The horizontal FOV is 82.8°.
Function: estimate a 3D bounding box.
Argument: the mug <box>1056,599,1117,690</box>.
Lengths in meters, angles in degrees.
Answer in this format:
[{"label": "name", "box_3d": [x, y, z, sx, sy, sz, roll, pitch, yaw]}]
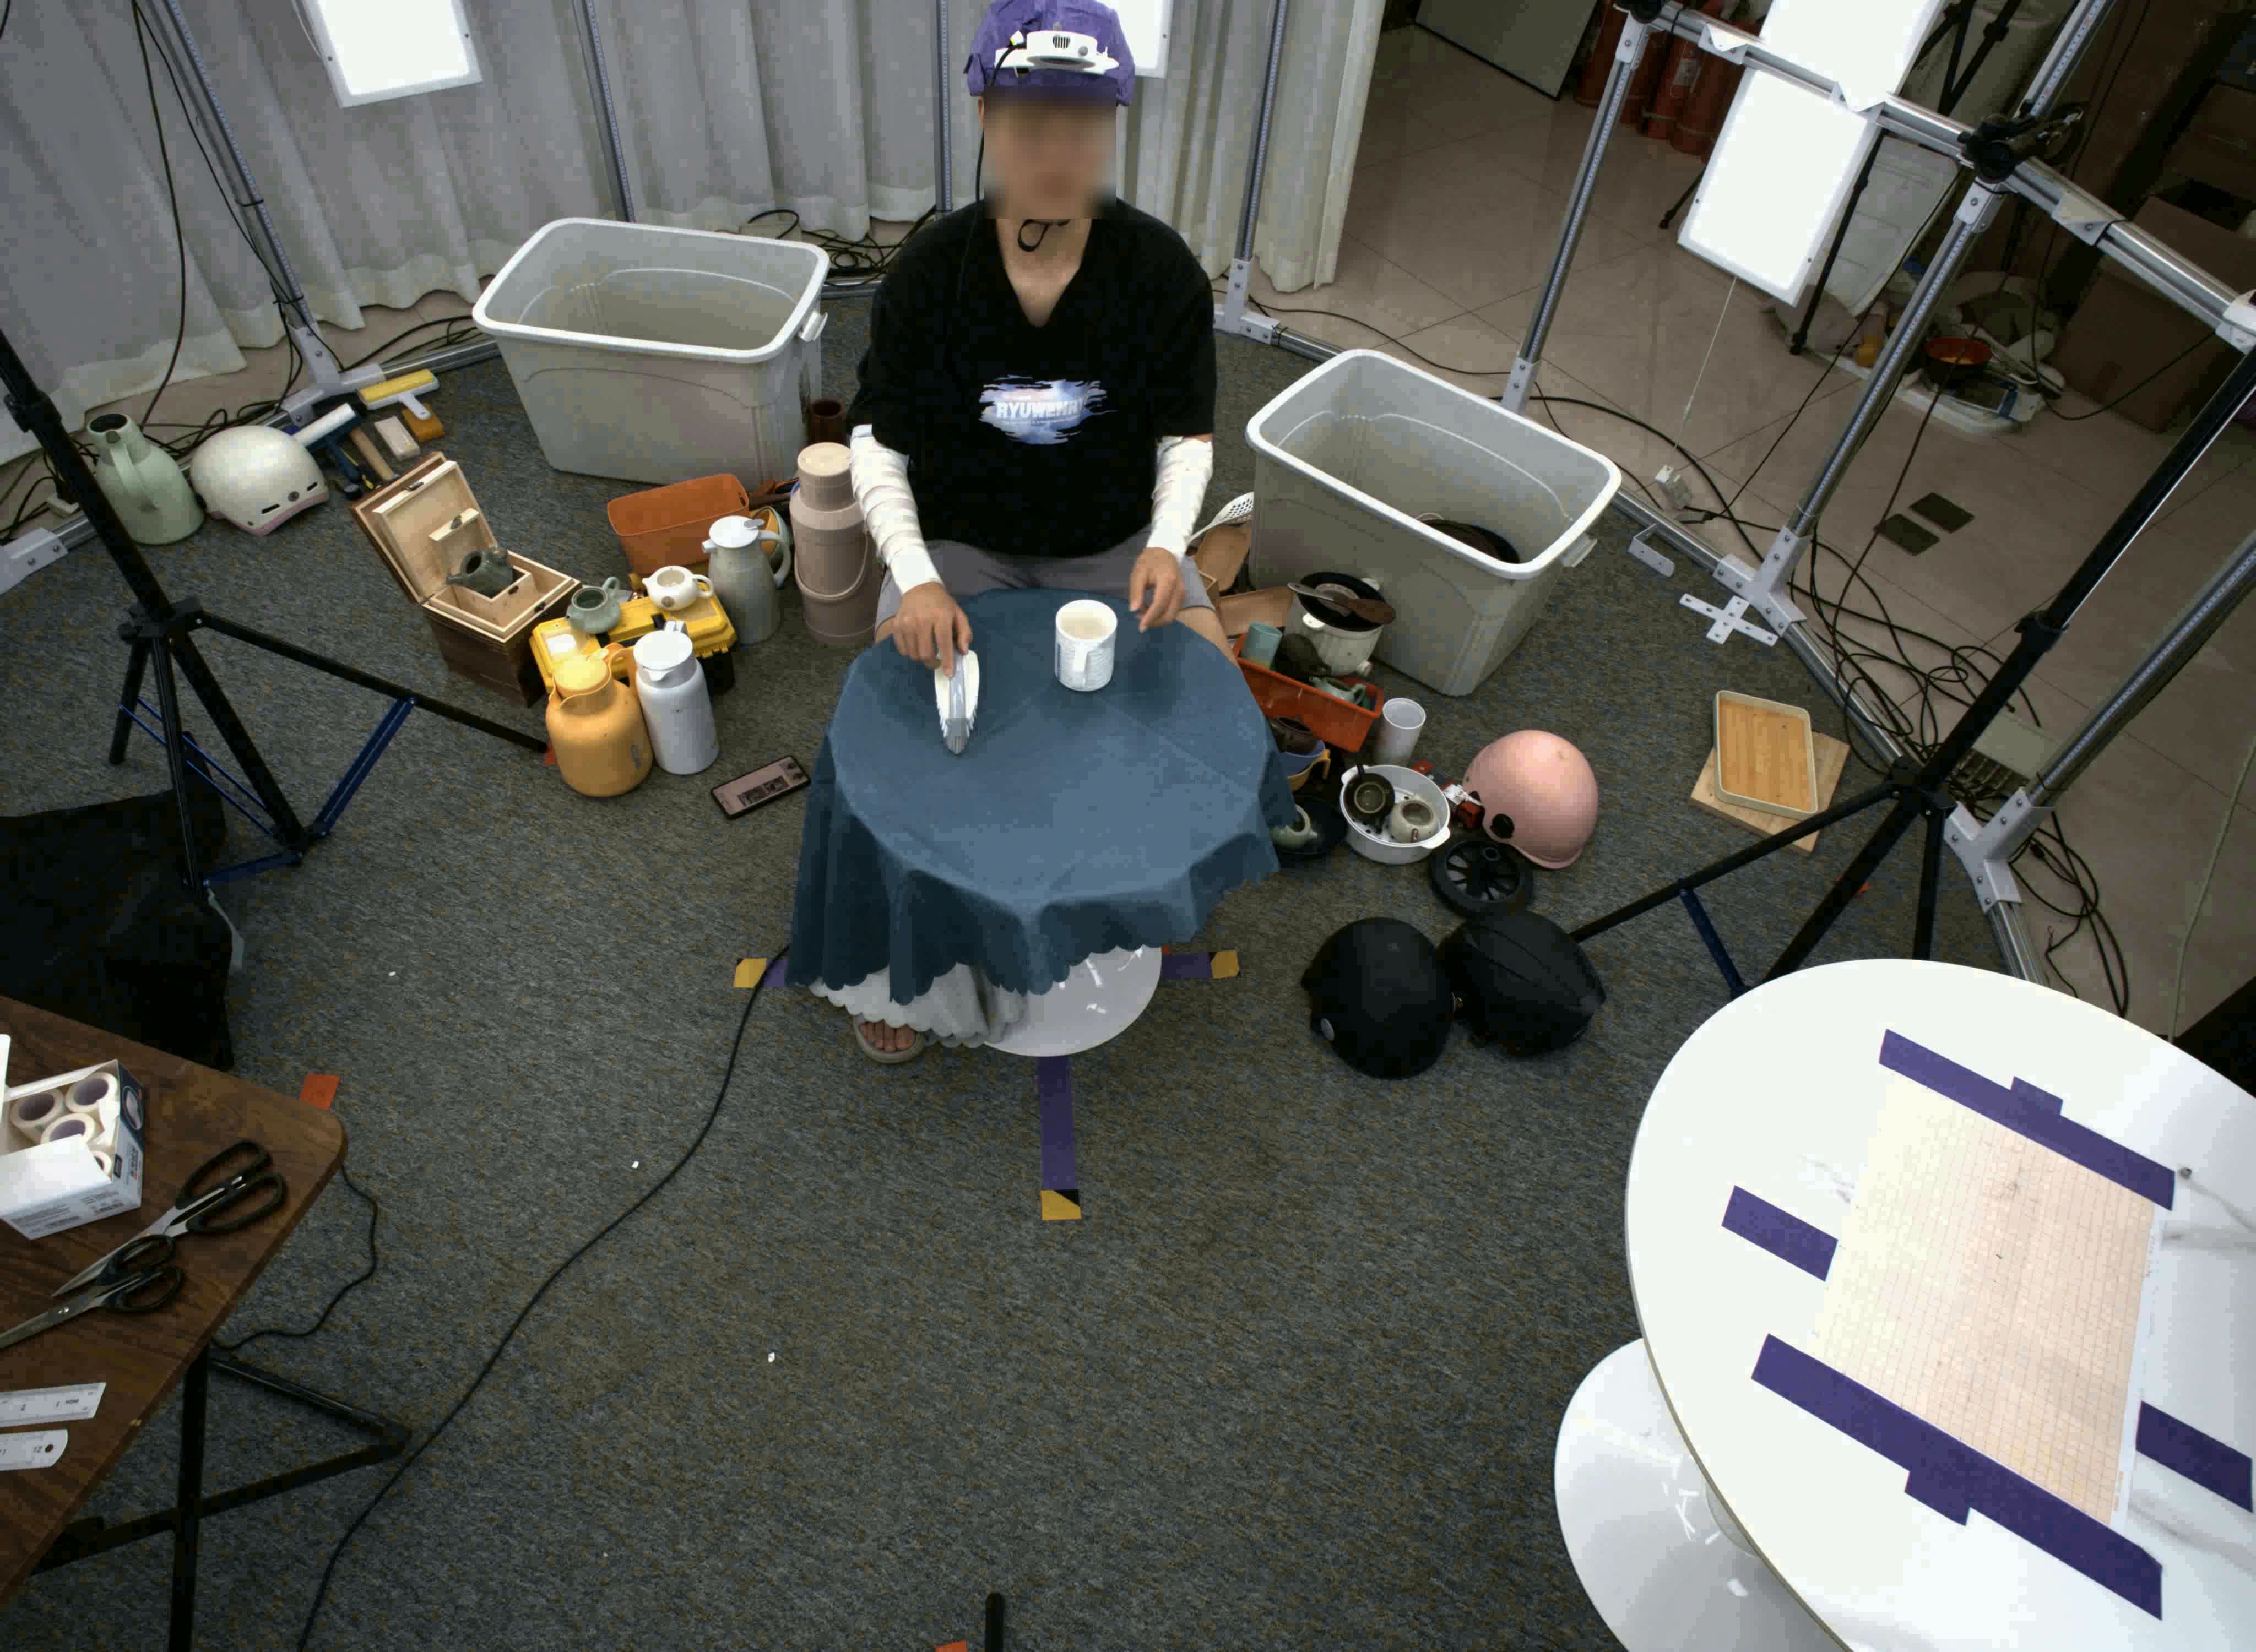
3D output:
[{"label": "mug", "box_3d": [-0.061, -0.243, 1.812, 0.085, 0.099, 0.121, 7, 51, 2]}]

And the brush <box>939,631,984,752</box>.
[{"label": "brush", "box_3d": [-0.230, -0.194, 1.767, 0.061, 0.092, 0.180, -2, 51, -2]}]
